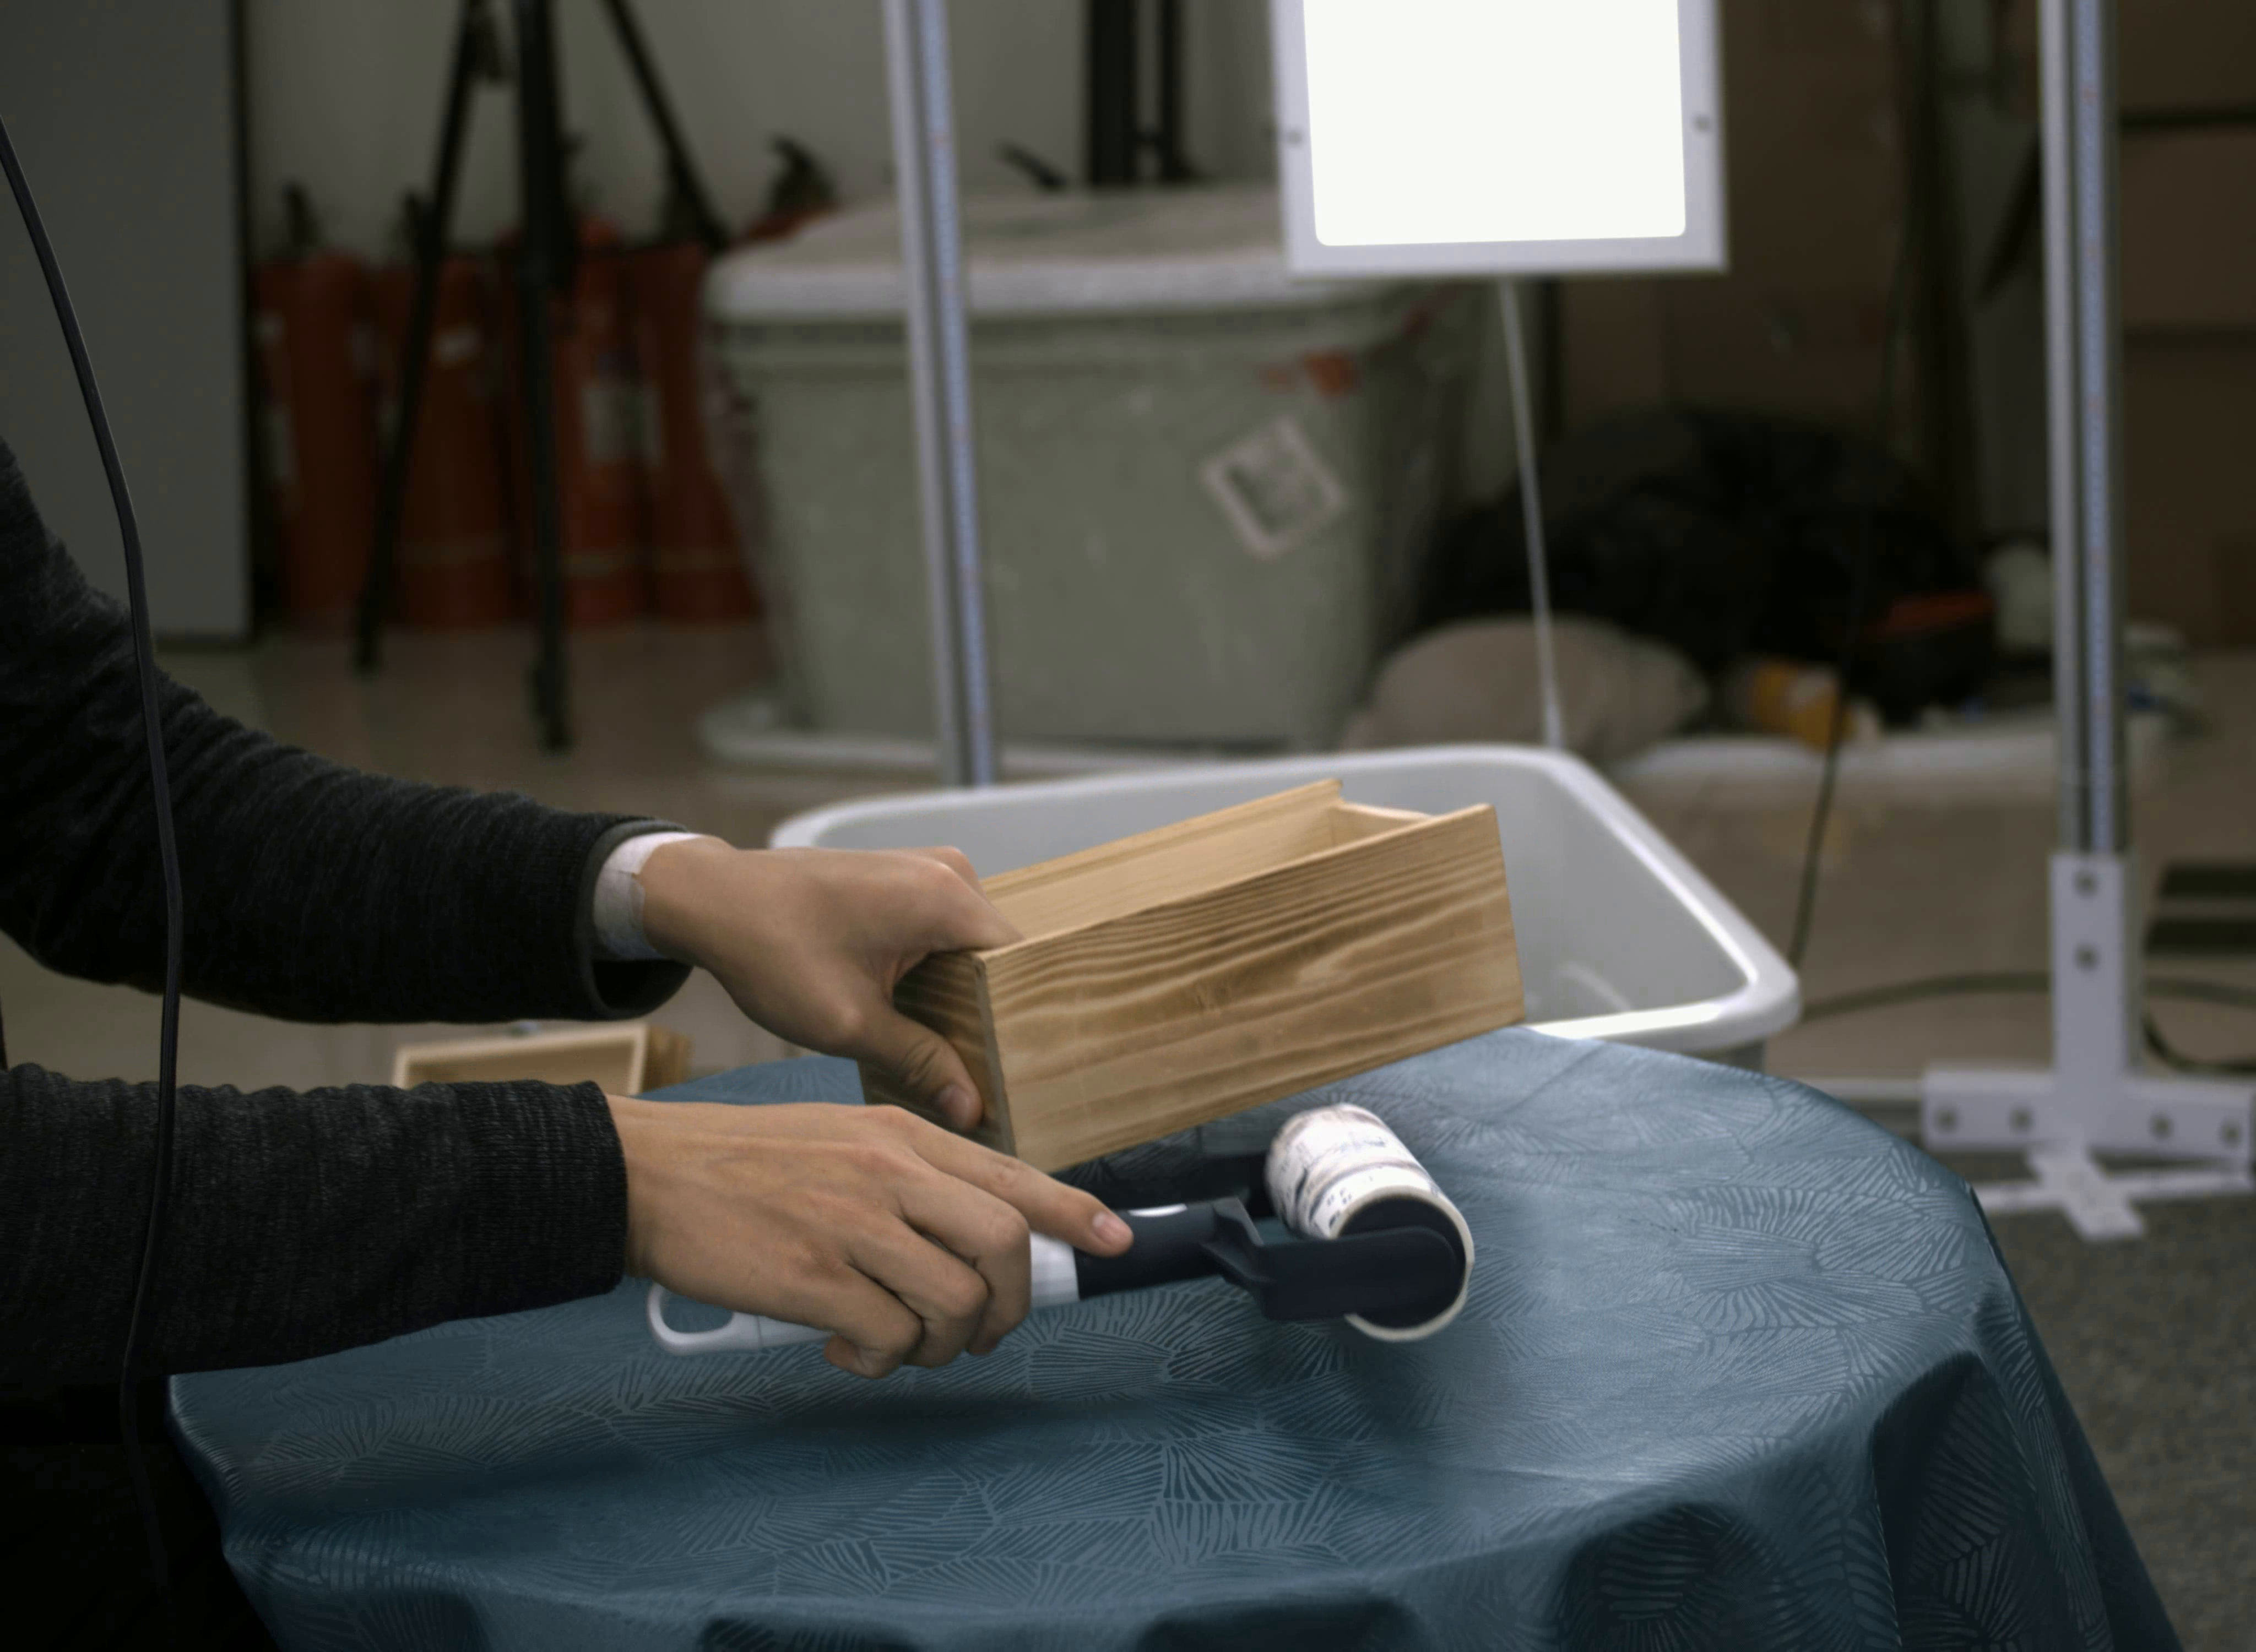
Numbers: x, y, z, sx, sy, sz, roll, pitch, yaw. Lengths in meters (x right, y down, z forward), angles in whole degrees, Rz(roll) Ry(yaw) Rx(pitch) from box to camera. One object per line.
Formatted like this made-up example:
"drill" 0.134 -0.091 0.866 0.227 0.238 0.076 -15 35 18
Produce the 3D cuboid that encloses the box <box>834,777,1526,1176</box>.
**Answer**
"box" 0.019 0.049 1.917 0.207 0.080 0.109 -17 13 -27

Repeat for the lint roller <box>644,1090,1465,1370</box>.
"lint roller" -0.027 0.130 1.697 0.246 0.050 0.176 -7 7 -3
